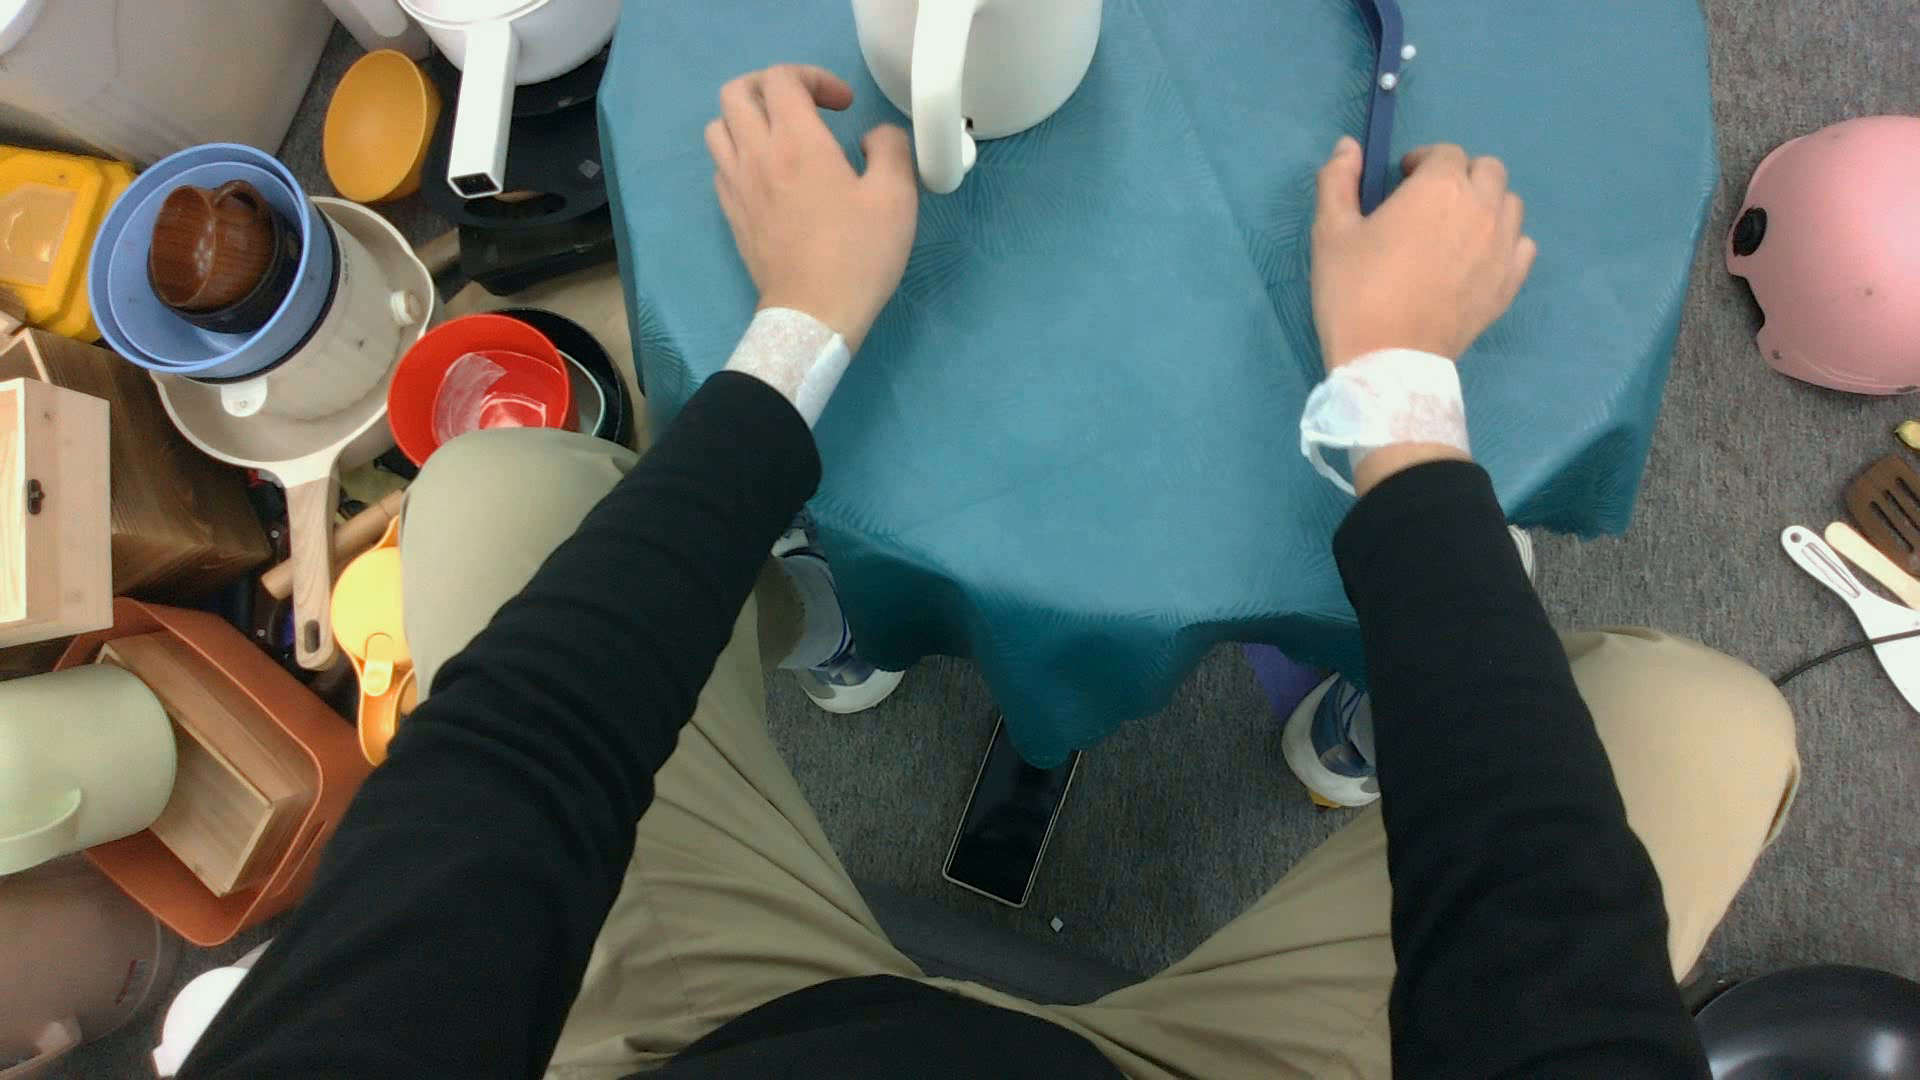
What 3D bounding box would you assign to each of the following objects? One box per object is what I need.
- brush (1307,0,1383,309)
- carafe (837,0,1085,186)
[{"bbox_3d":[0.223,-0.257,0.740,0.096,0.033,0.273,2,79,-1],"label":"brush"},{"bbox_3d":[-0.004,-0.274,0.675,0.132,0.182,0.191,7,81,3],"label":"carafe"}]
